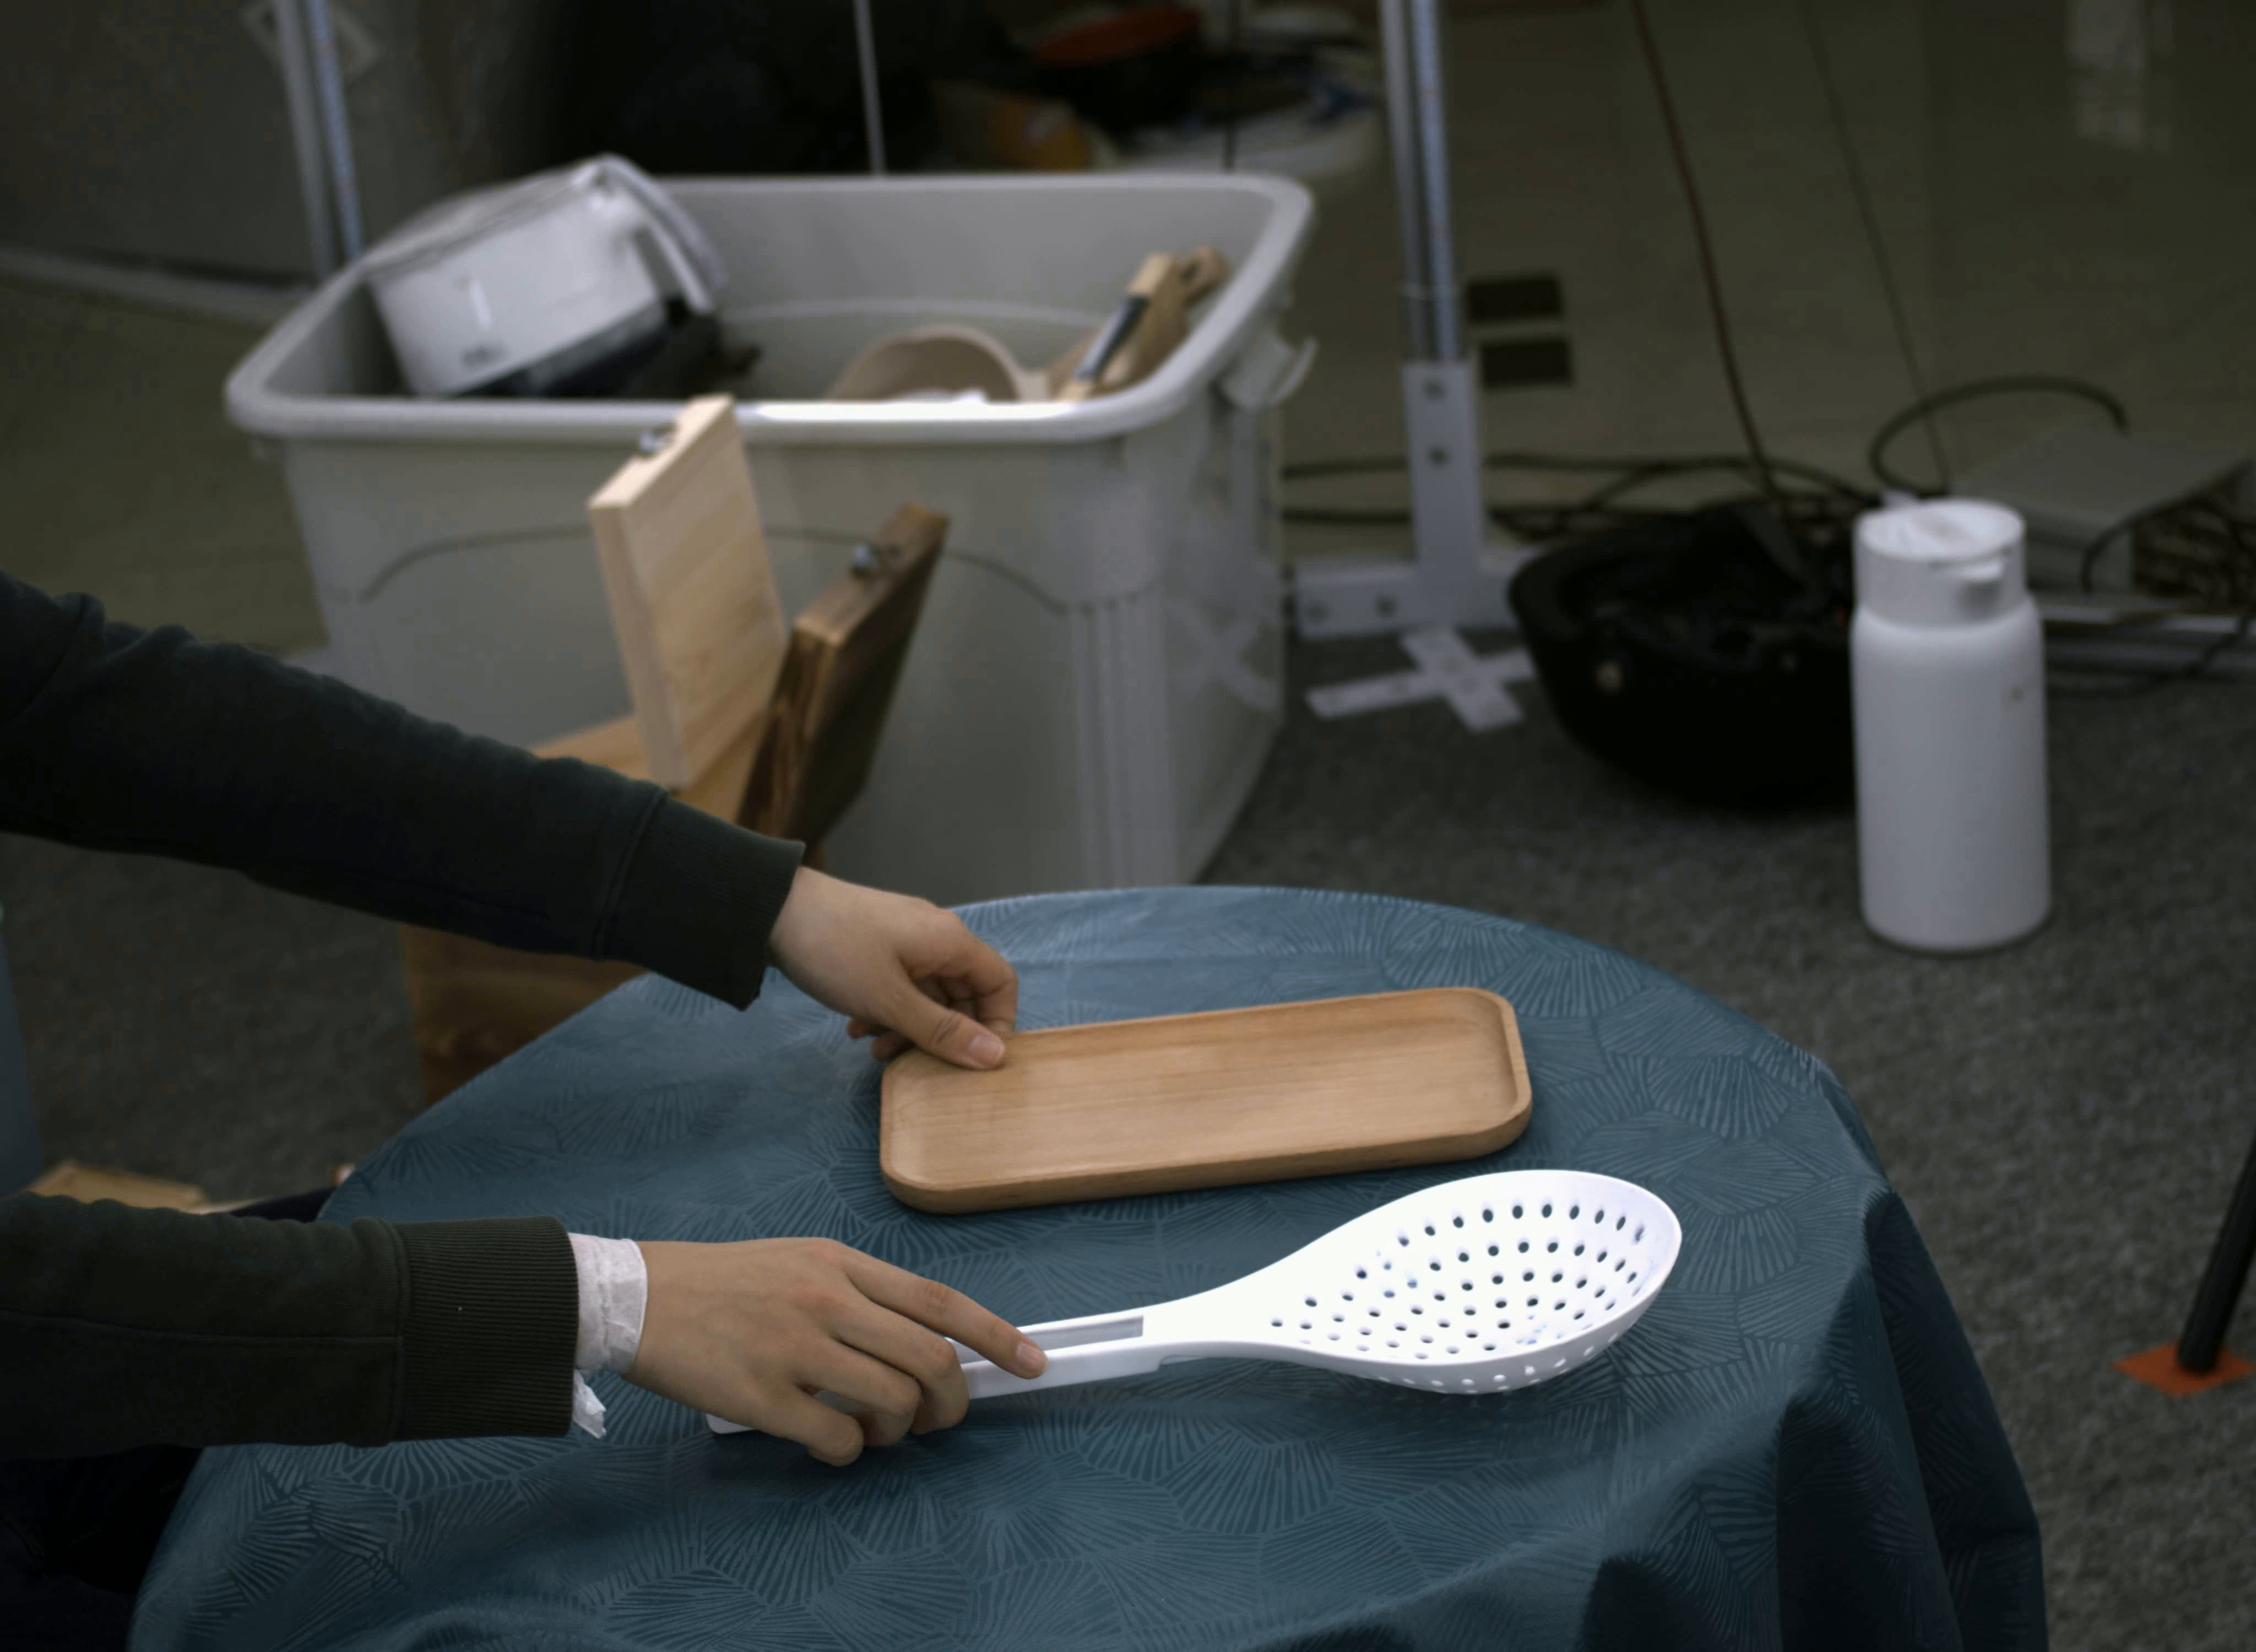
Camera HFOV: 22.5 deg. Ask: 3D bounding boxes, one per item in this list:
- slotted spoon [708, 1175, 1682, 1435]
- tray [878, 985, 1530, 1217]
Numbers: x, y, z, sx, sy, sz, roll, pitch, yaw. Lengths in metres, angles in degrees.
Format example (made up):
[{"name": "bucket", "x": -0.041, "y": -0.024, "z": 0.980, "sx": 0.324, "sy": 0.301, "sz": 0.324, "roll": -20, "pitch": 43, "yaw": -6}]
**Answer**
[{"name": "slotted spoon", "x": 0.022, "y": 0.179, "z": 2.008, "sx": 0.349, "sy": 0.046, "sz": 0.134, "roll": -5, "pitch": 23, "yaw": 5}, {"name": "tray", "x": 0.028, "y": 0.107, "z": 2.196, "sx": 0.250, "sy": 0.023, "sz": 0.129, "roll": -7, "pitch": 23, "yaw": 2}]
